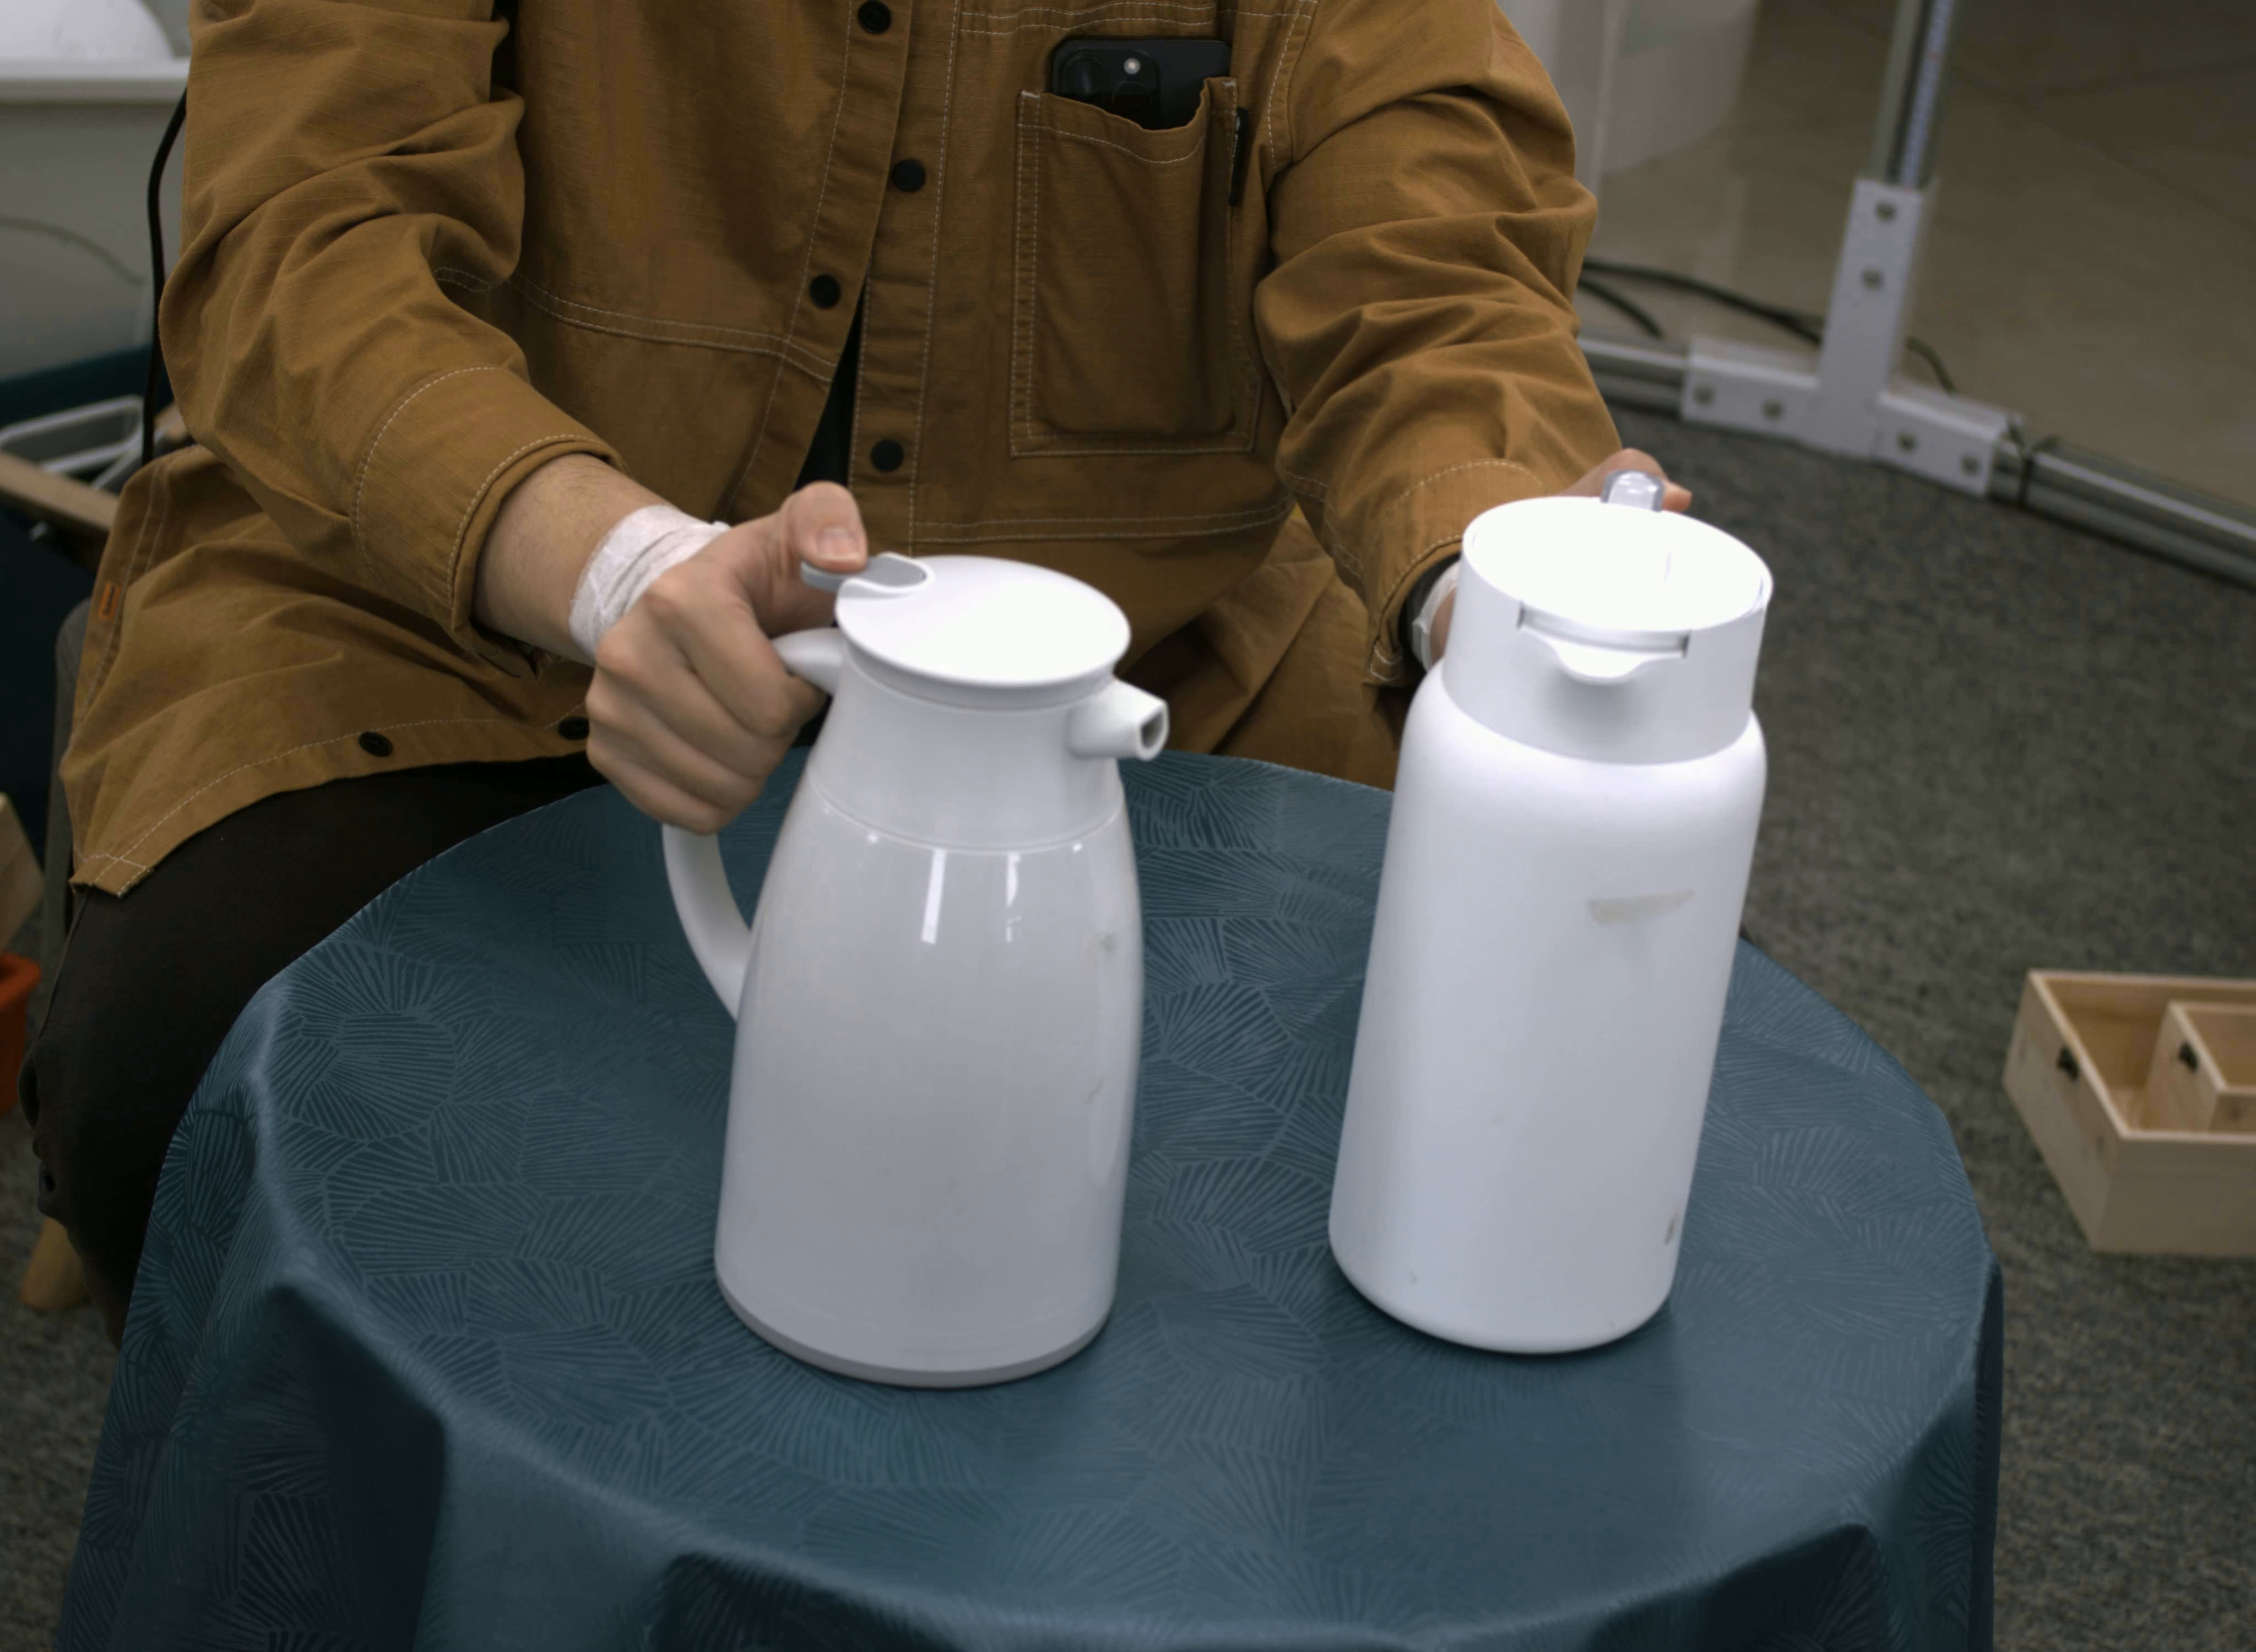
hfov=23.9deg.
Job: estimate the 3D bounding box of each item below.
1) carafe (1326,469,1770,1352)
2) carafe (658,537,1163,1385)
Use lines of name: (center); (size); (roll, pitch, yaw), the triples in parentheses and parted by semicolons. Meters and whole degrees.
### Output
carafe: (0.139, 0.024, 1.739); (0.124, 0.268, 0.173); (8, 26, 6)
carafe: (-0.076, 0.033, 1.692); (0.168, 0.248, 0.132); (17, 27, 22)
